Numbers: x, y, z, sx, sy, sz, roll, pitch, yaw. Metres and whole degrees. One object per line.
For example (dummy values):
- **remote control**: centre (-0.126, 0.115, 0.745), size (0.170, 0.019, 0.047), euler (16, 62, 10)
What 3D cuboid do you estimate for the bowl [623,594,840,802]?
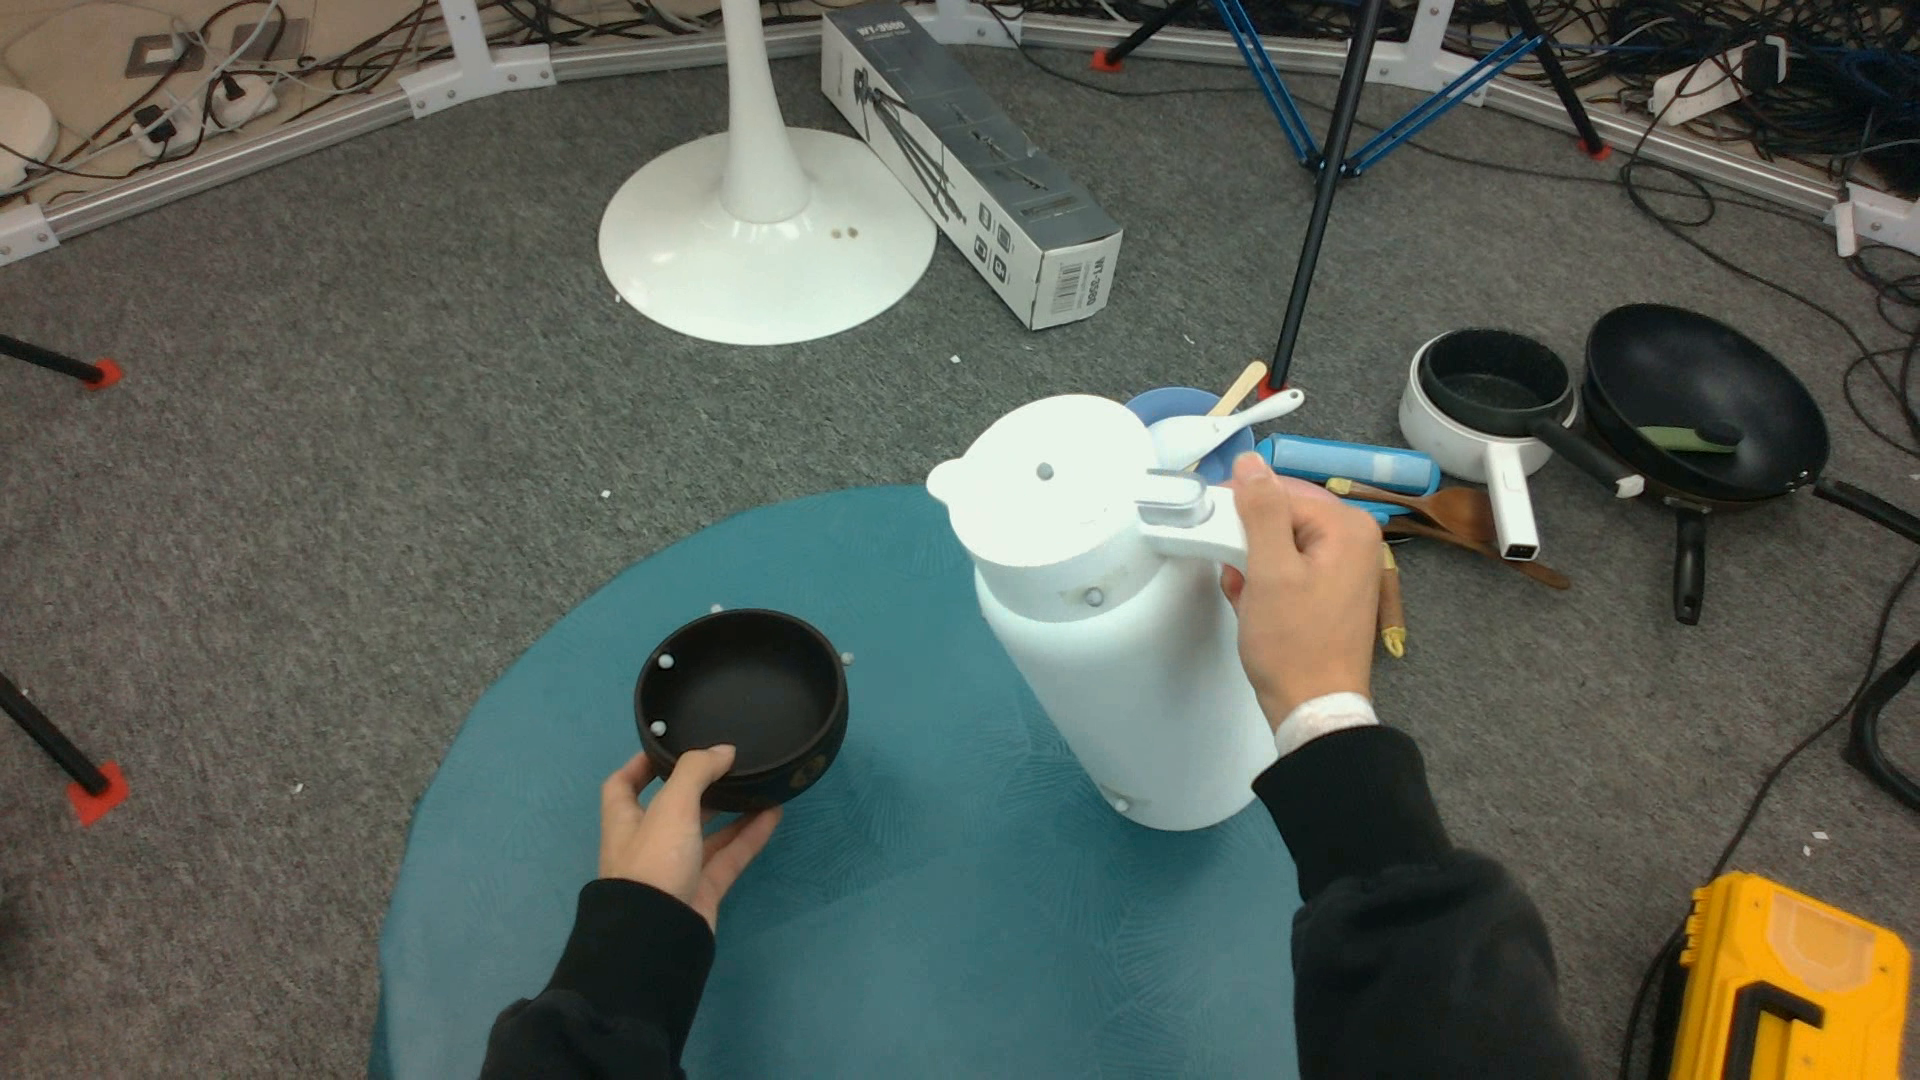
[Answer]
- **bowl**: centre (-0.126, 0.095, 0.775), size (0.118, 0.069, 0.118), euler (2, 49, -2)

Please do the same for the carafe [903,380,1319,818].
- **carafe**: centre (0.097, 0.039, 0.712), size (0.172, 0.268, 0.124), euler (3, 55, 30)
